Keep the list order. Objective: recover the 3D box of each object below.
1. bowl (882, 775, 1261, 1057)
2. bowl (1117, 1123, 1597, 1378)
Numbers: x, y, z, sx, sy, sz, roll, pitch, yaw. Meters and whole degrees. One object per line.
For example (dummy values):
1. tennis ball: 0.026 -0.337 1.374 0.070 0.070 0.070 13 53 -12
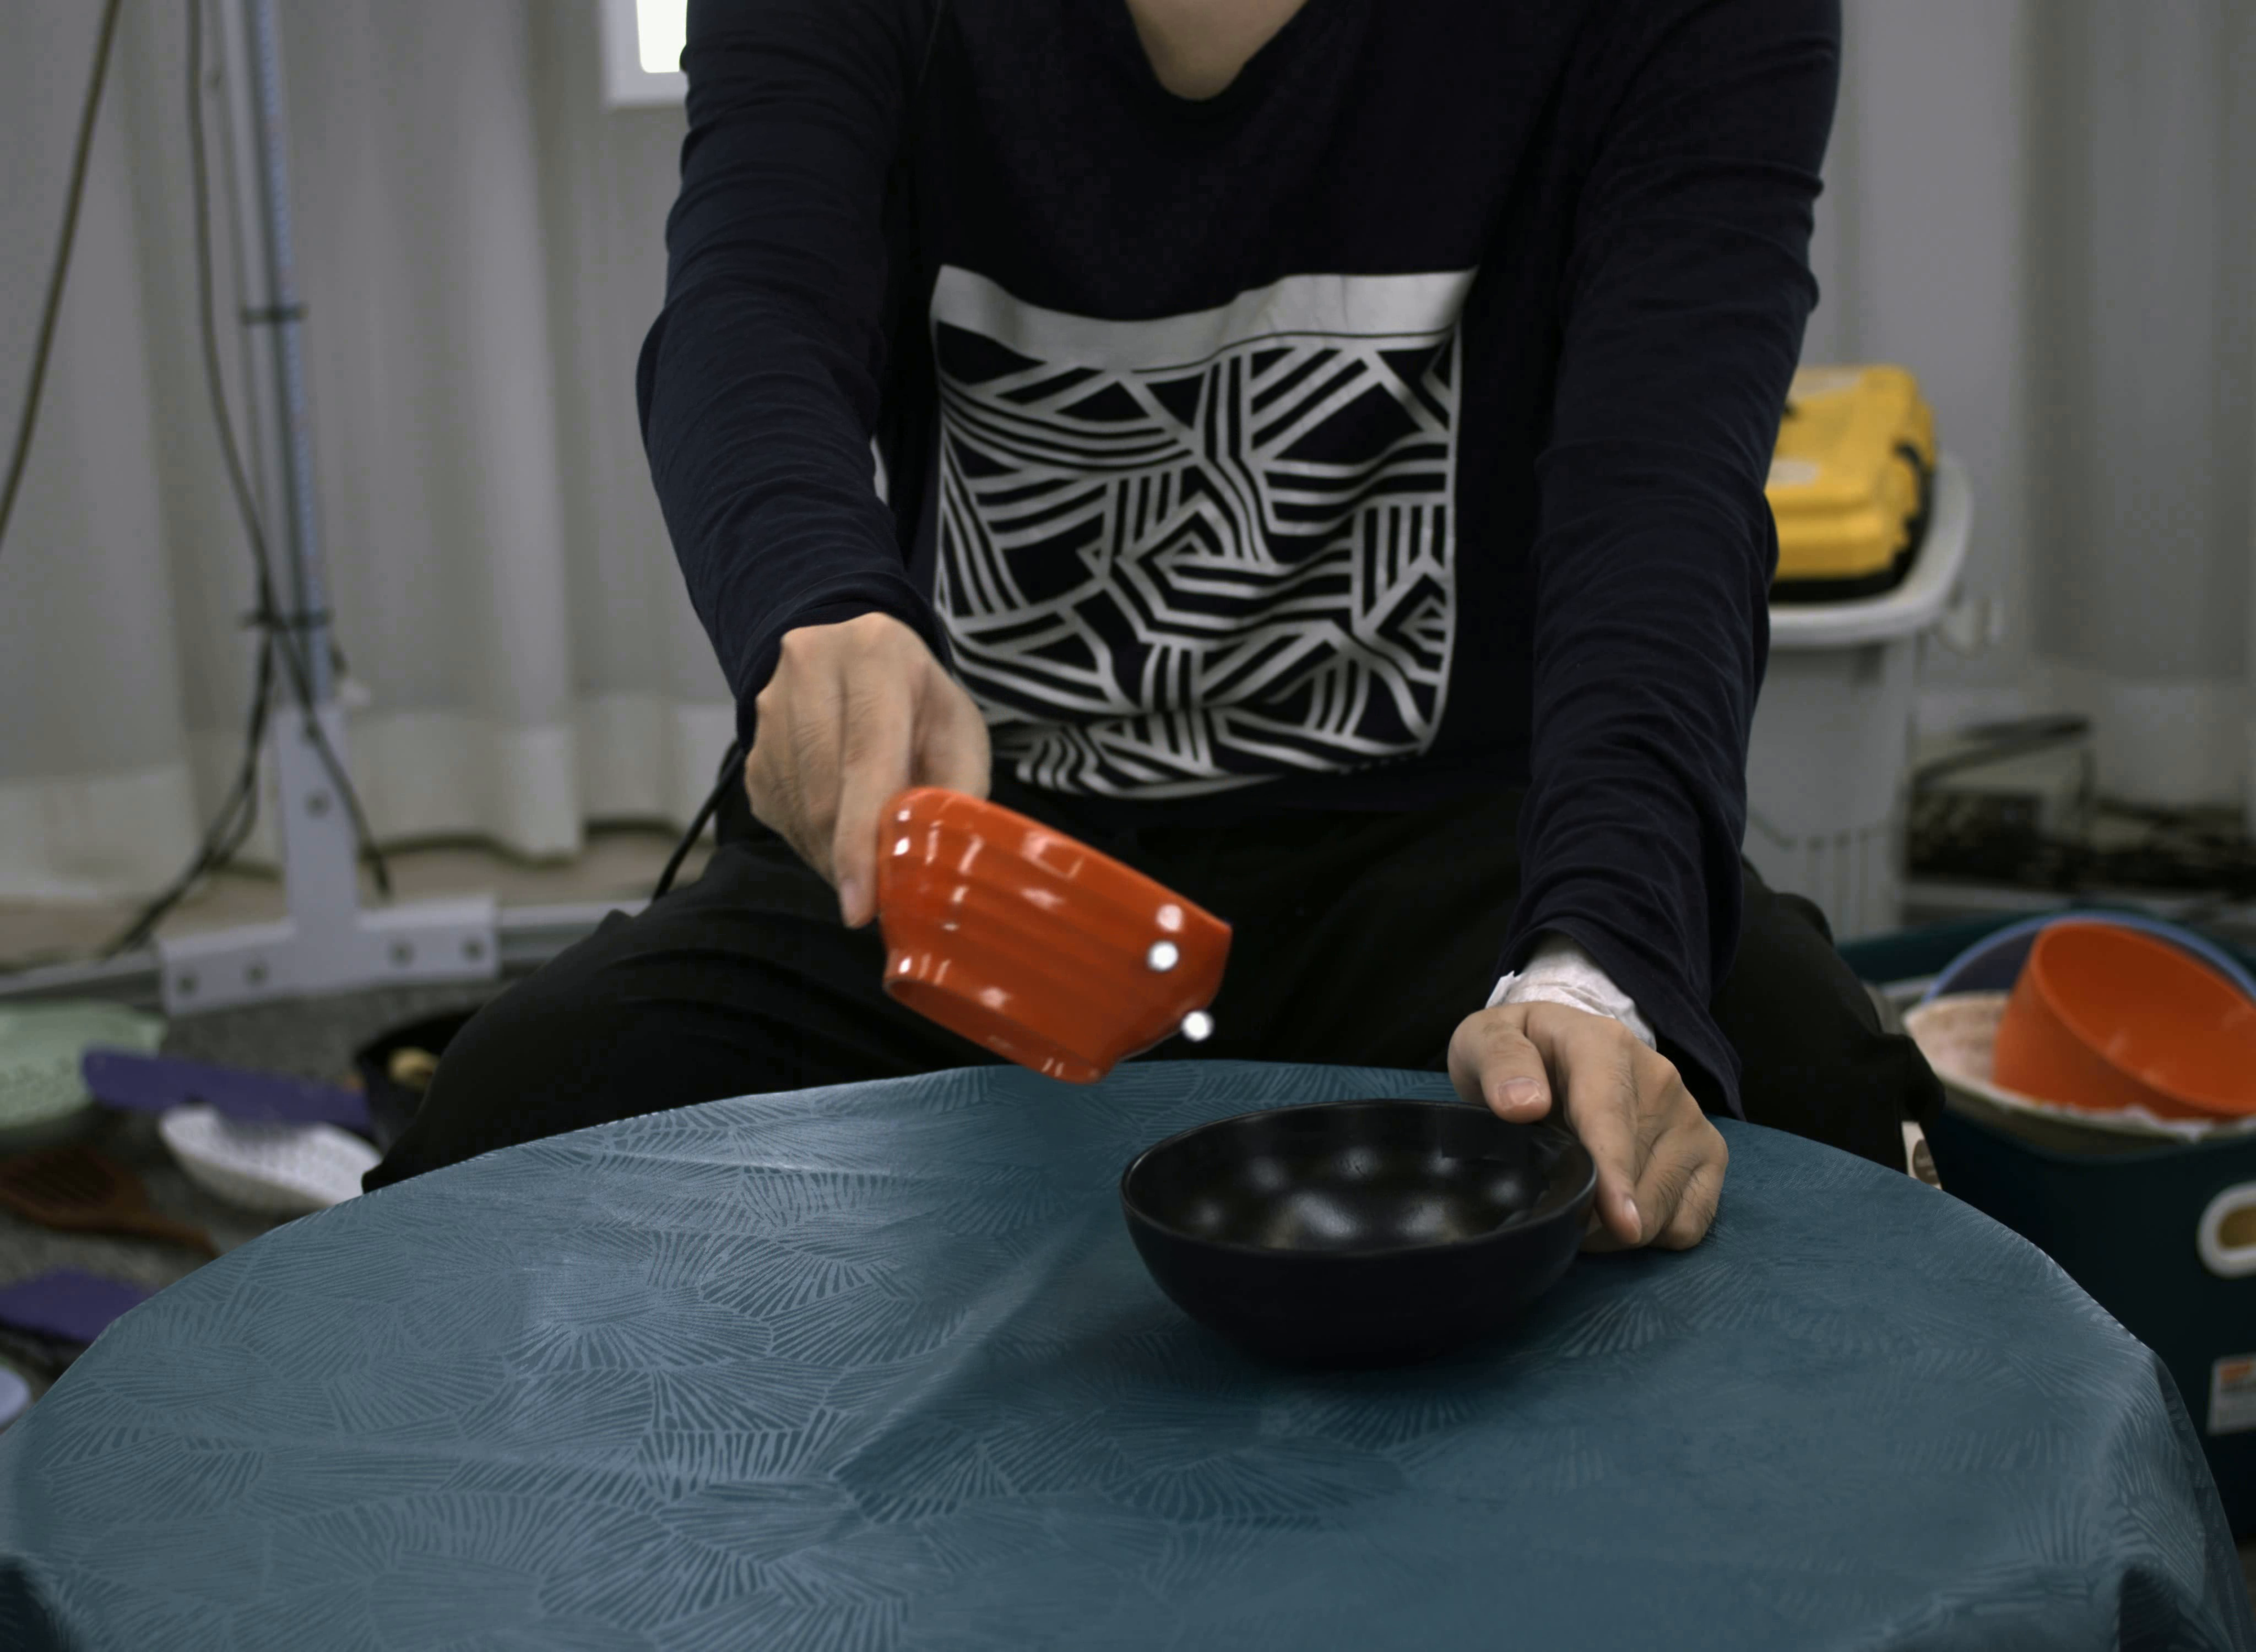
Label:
1. bowl: -0.023 0.030 1.545 0.119 0.051 0.118 20 -8 3
2. bowl: 0.067 0.126 1.579 0.139 0.049 0.140 -3 10 0
